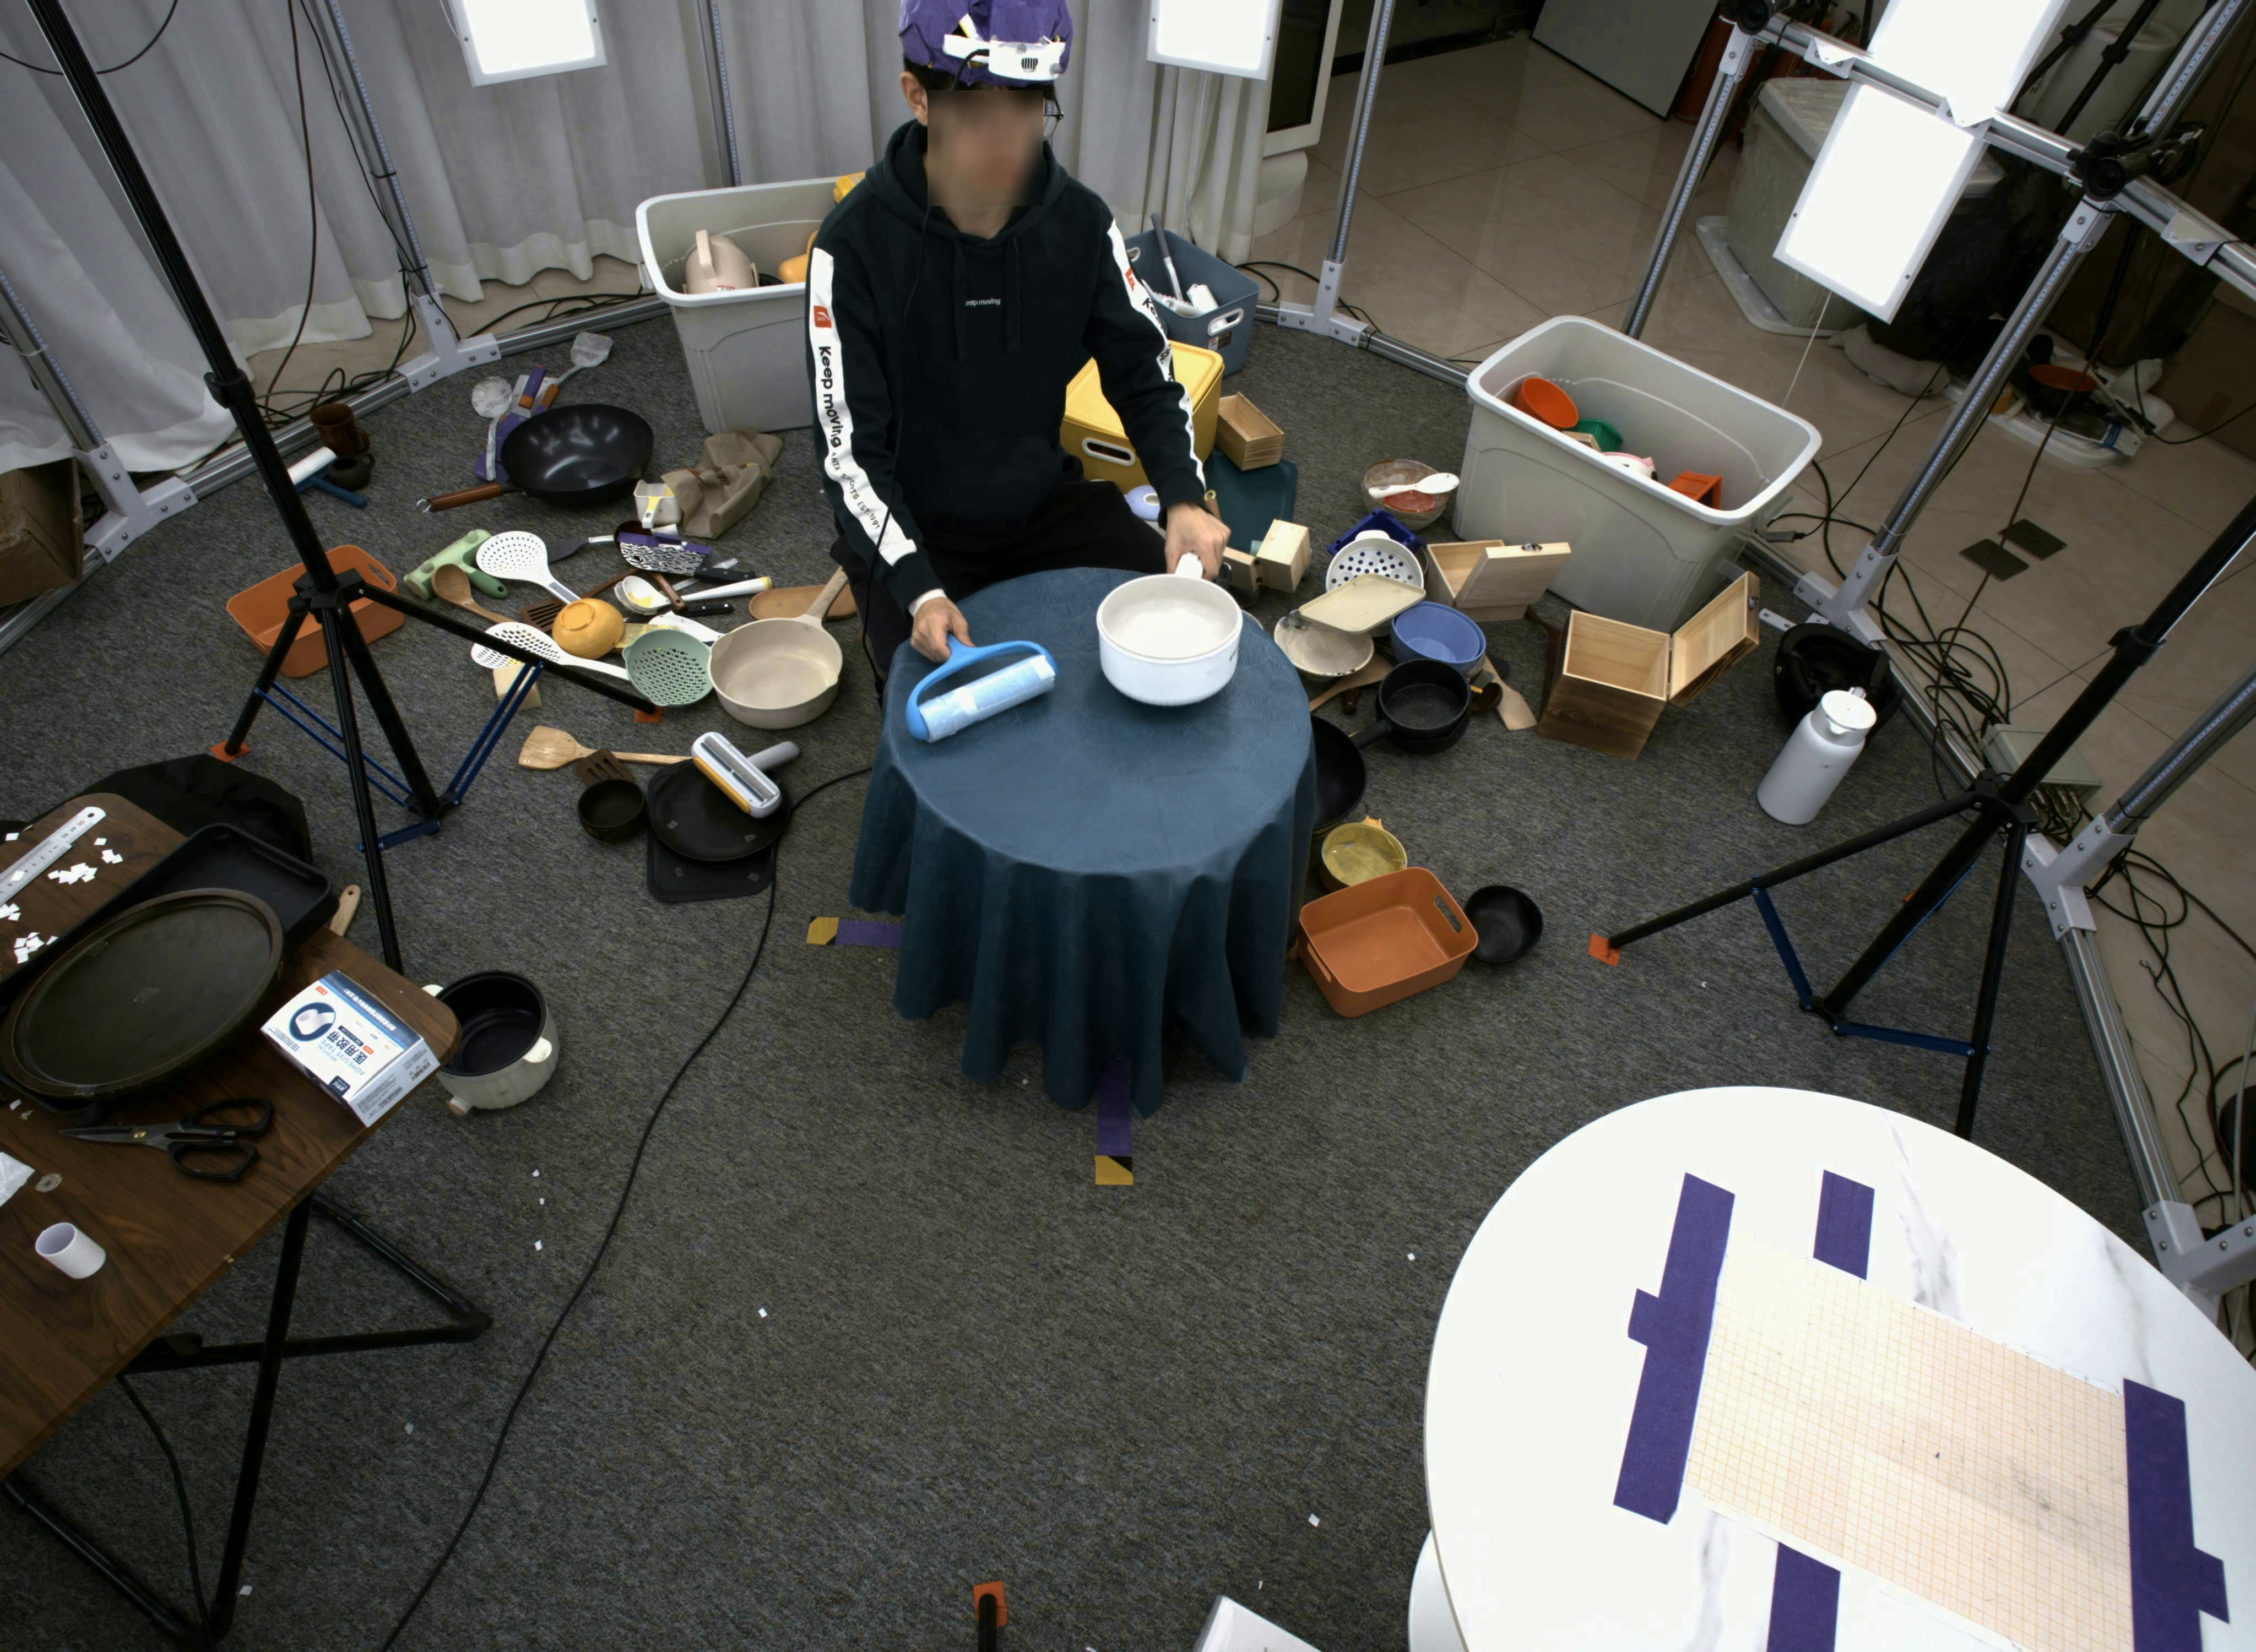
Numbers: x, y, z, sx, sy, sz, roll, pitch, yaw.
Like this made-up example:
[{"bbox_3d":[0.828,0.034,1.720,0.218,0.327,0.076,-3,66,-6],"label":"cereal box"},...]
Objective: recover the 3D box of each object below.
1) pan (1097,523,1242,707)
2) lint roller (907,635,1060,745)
[{"bbox_3d":[0.078,-0.308,1.864,0.202,0.099,0.362,9,44,11],"label":"pan"},{"bbox_3d":[-0.229,-0.217,1.791,0.230,0.066,0.183,-30,63,-21],"label":"lint roller"}]
